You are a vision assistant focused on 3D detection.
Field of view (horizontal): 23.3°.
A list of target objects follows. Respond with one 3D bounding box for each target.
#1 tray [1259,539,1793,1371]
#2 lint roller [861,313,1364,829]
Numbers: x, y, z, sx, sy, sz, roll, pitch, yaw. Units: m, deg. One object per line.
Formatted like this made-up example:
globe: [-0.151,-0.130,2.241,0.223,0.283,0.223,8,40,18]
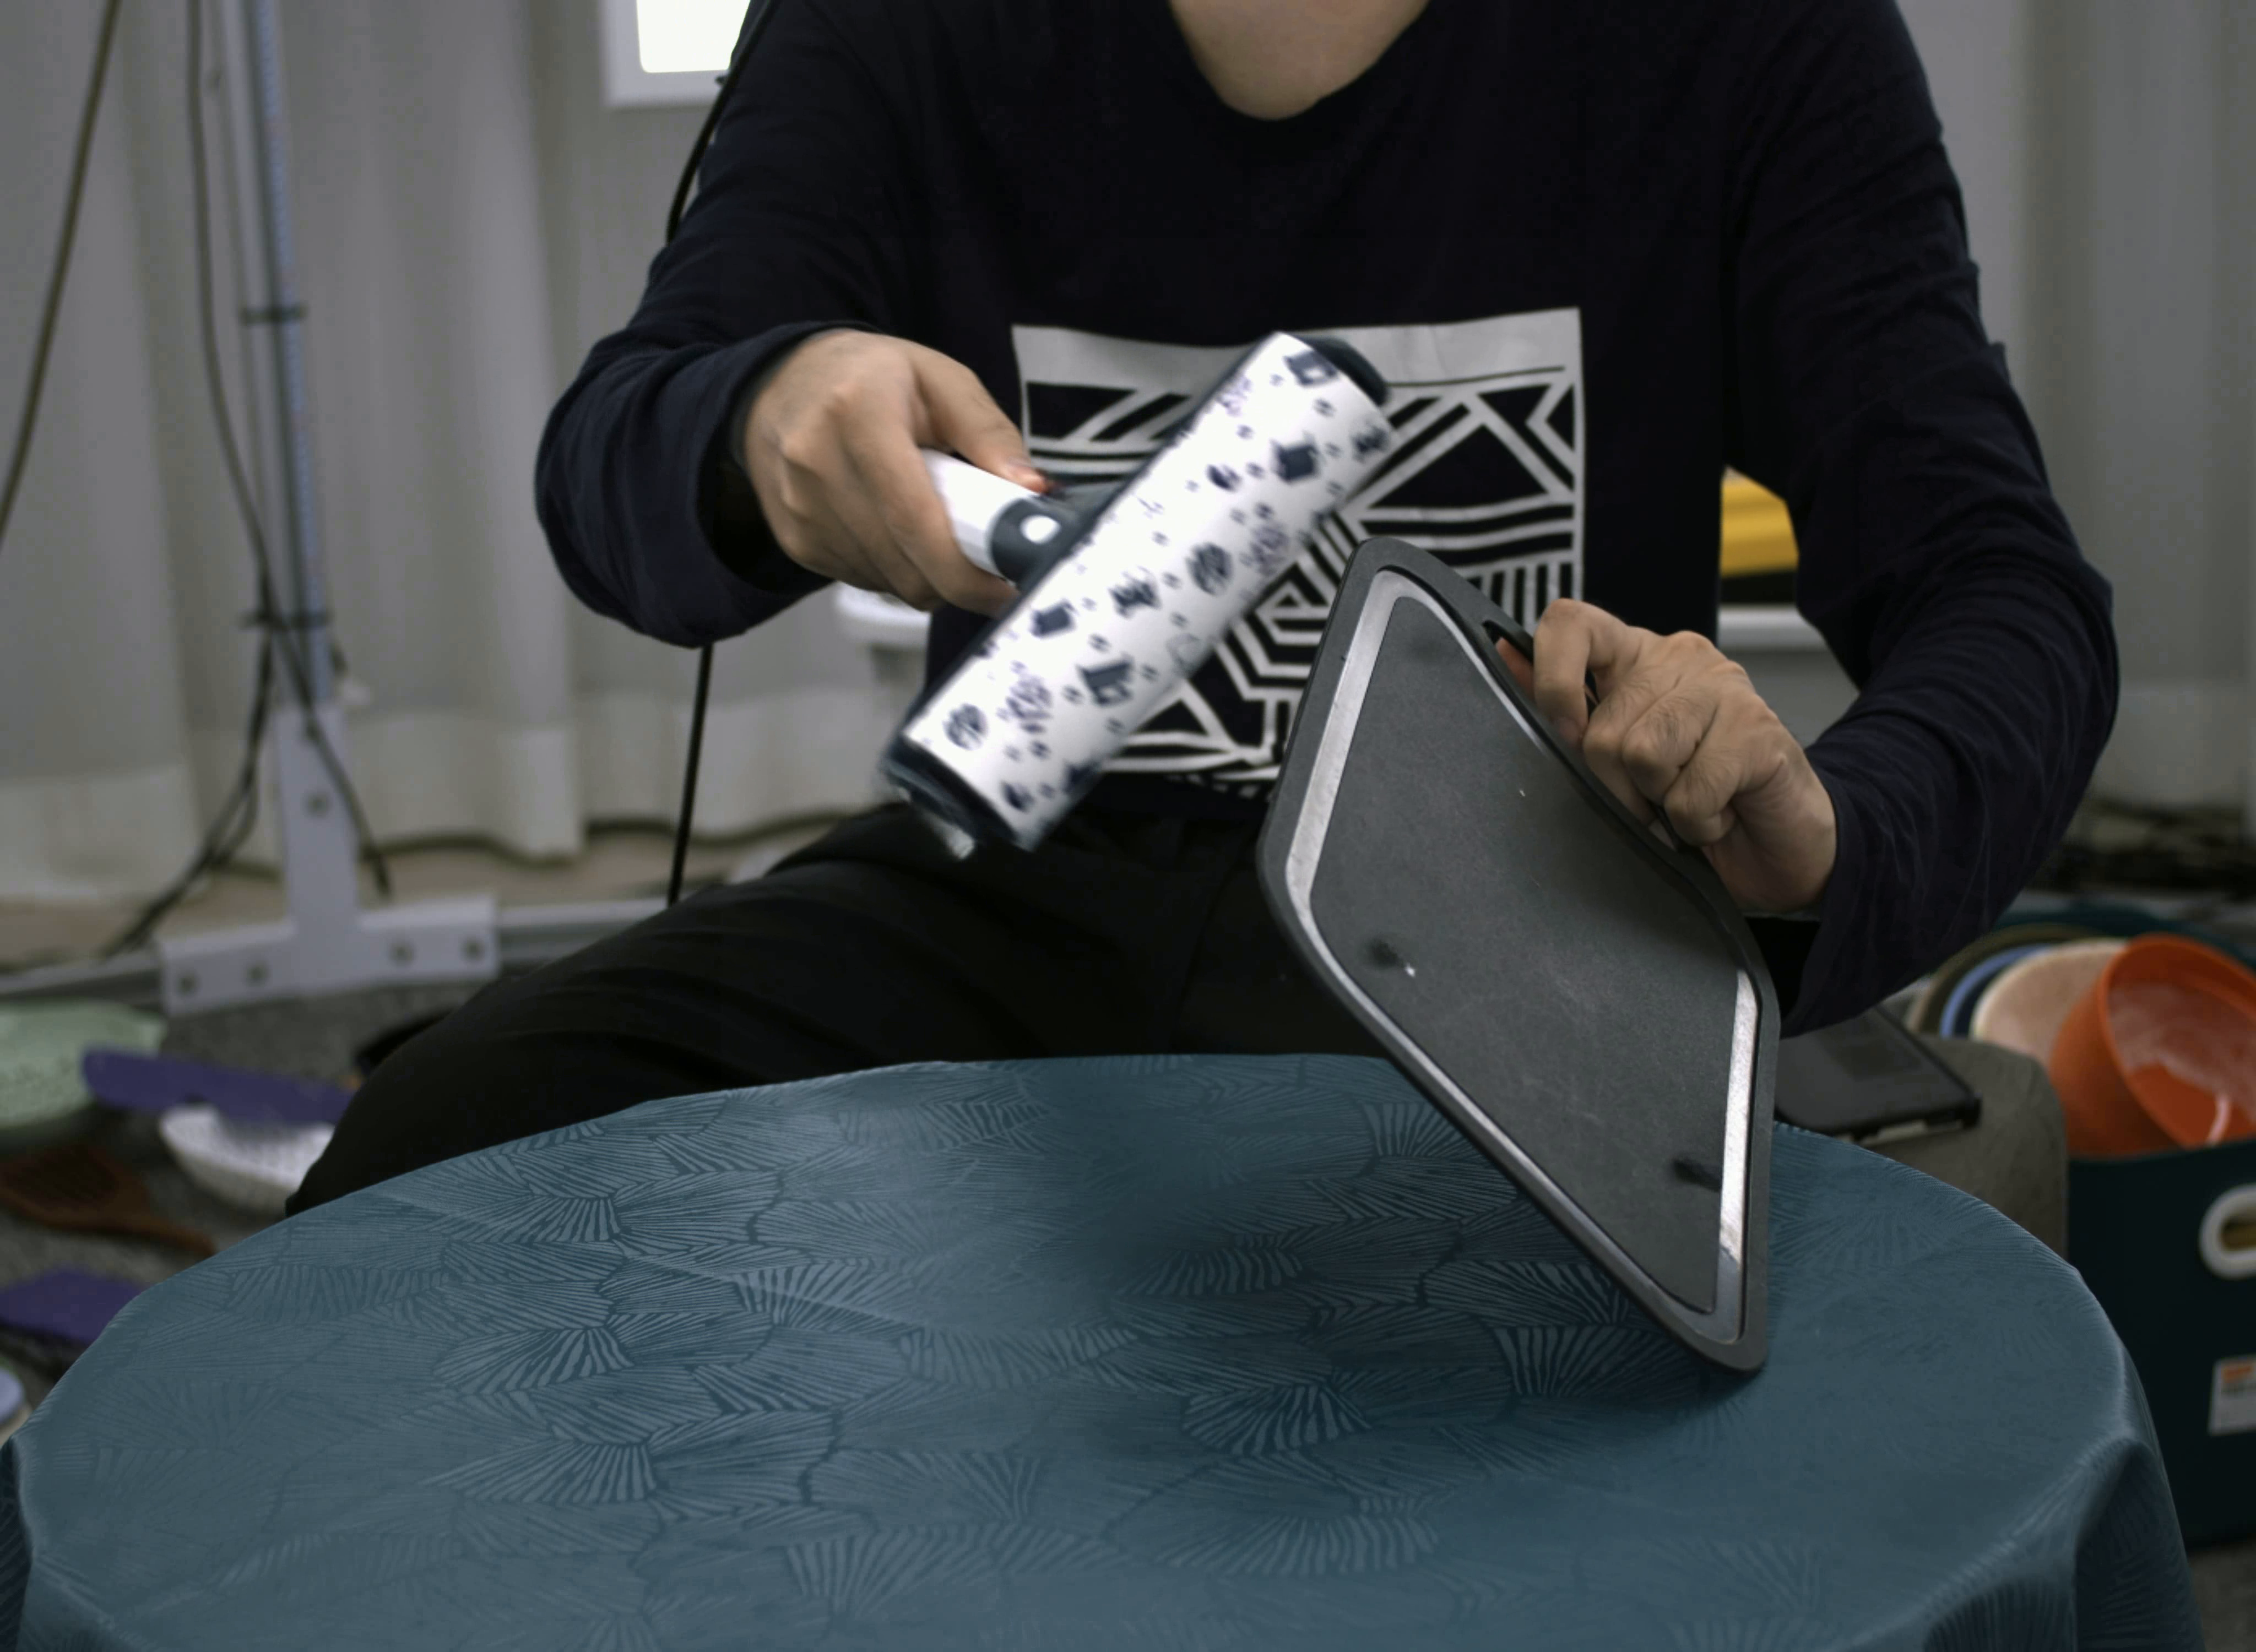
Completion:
tray: [0.126,0.026,1.638,0.010,0.210,0.328,-39,11,22]
lint roller: [-0.039,-0.090,1.657,0.177,0.050,0.249,-49,24,-8]
